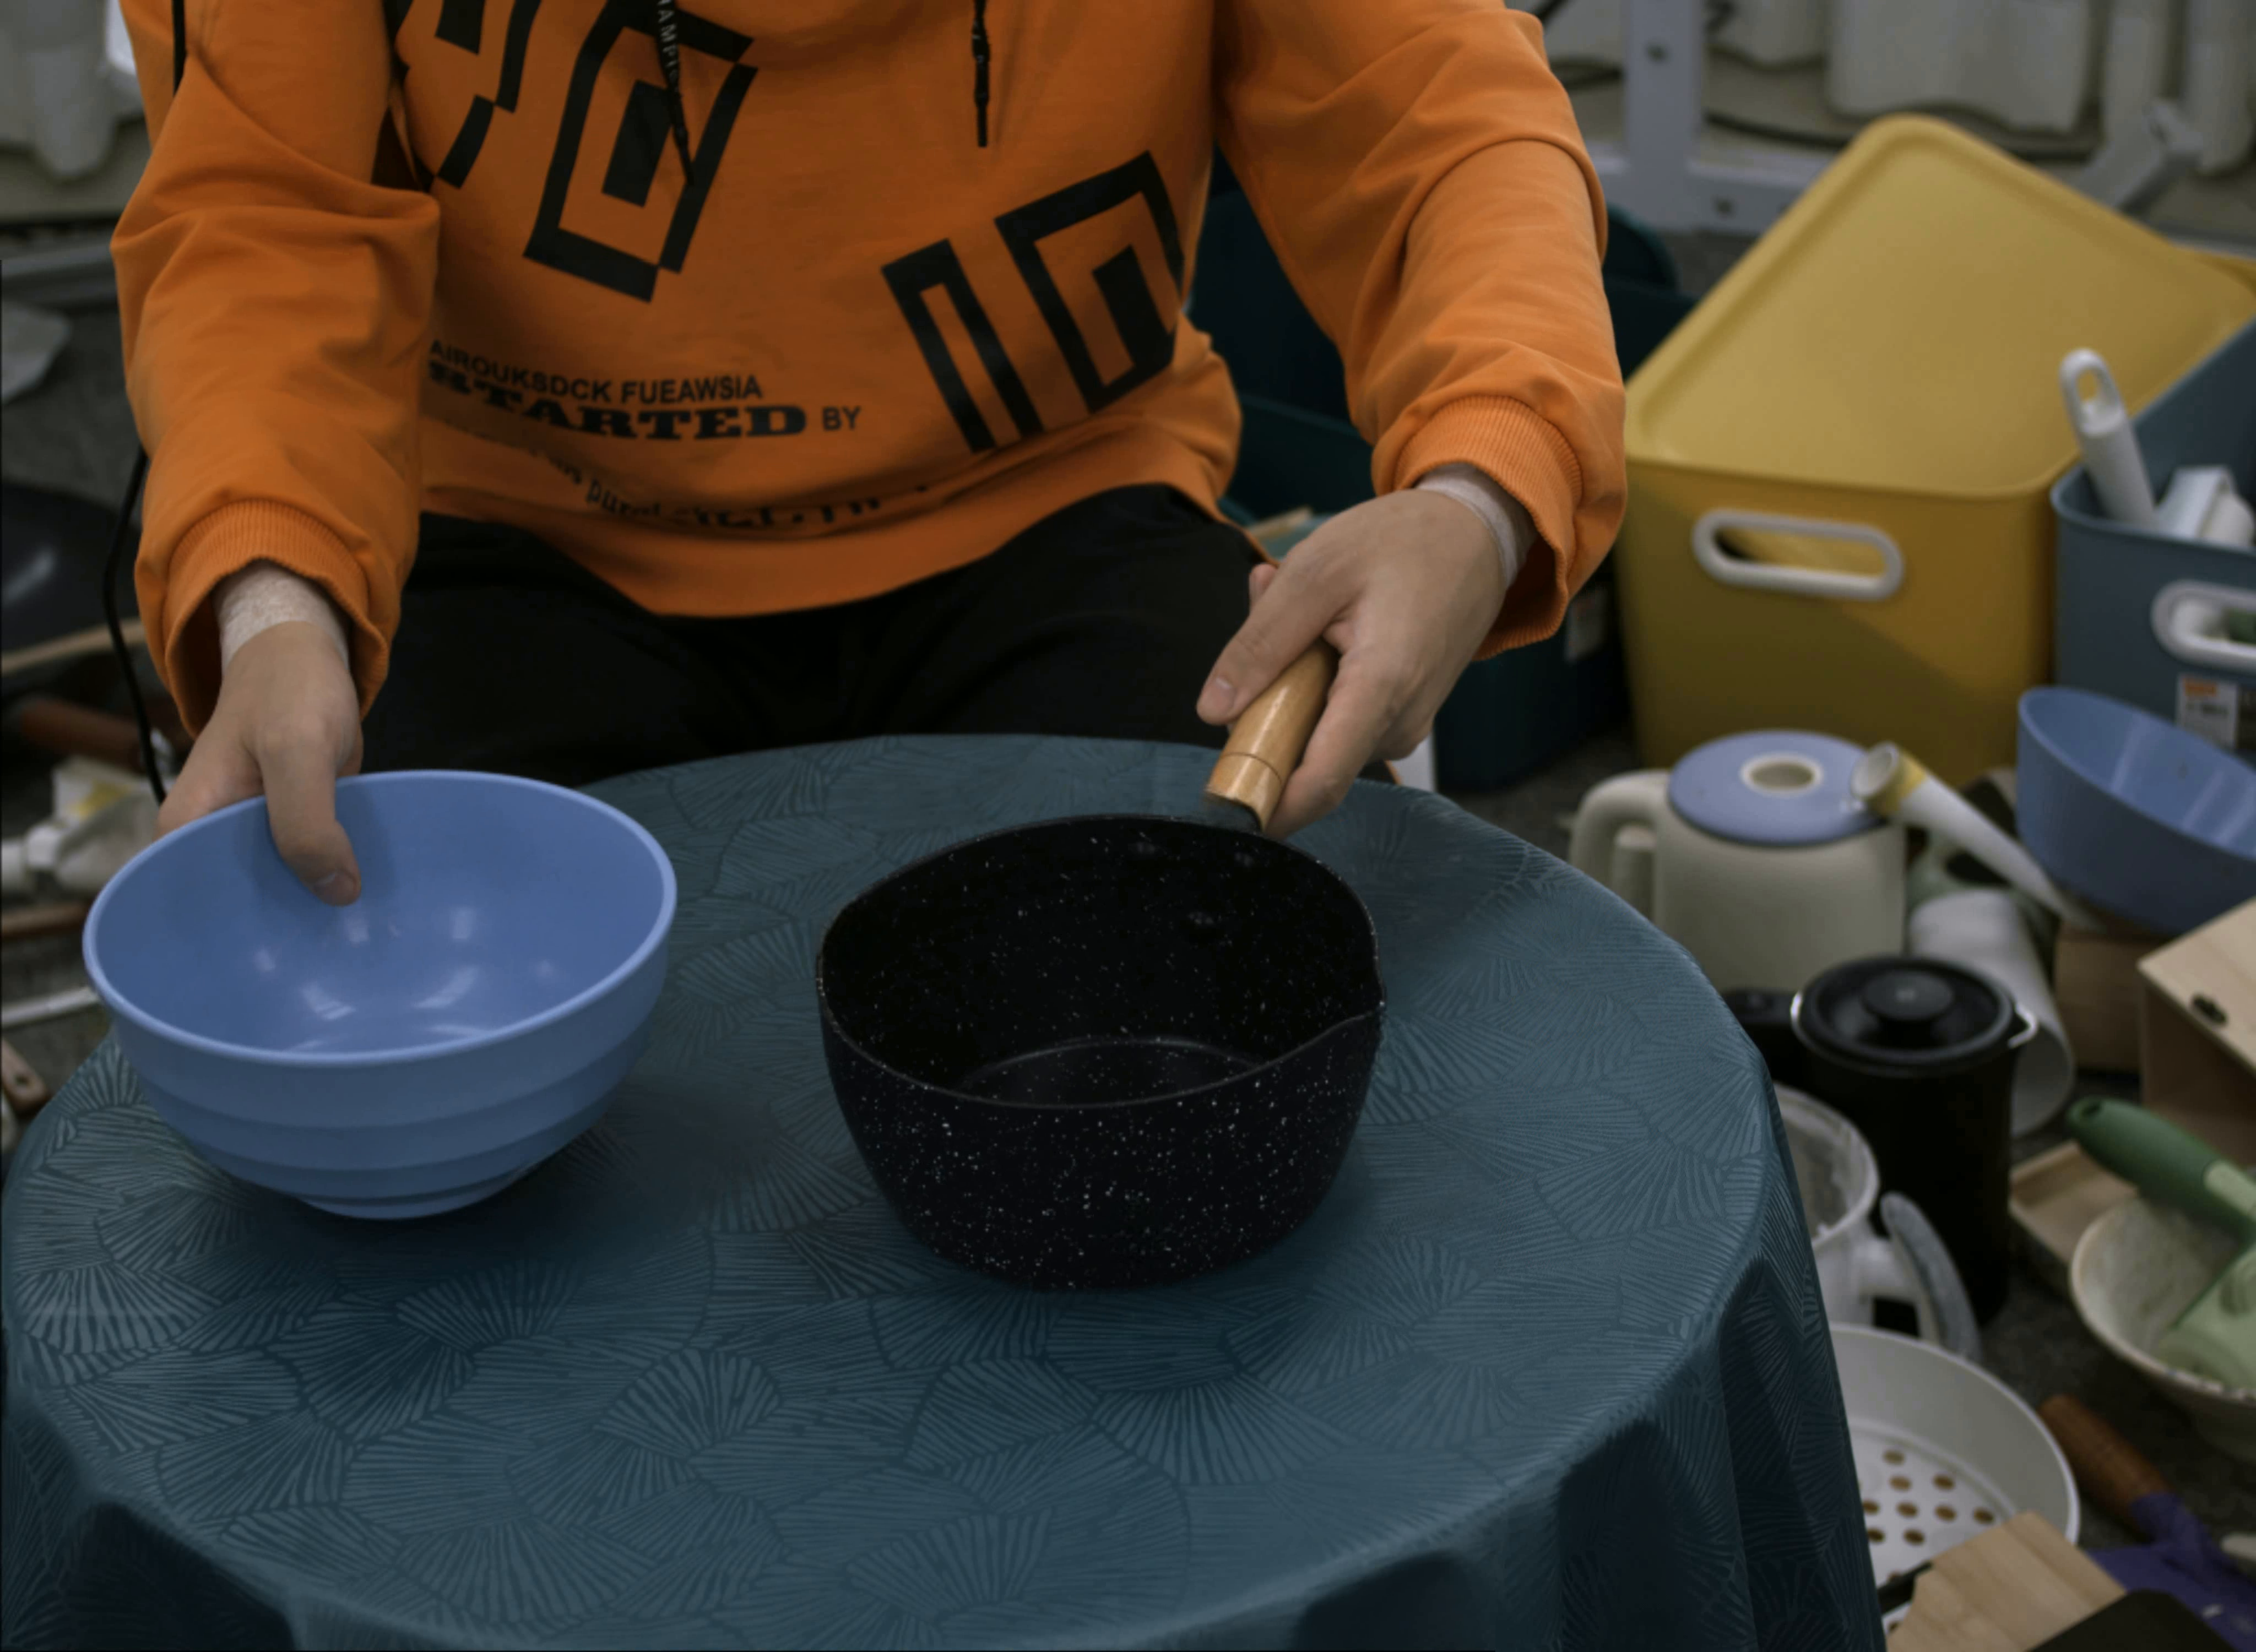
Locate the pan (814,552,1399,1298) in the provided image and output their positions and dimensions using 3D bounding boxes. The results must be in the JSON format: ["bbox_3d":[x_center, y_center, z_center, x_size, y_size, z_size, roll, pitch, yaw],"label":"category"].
[{"bbox_3d":[0.020,0.030,1.911,0.206,0.107,0.349,6,32,20],"label":"pan"}]

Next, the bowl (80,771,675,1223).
[{"bbox_3d":[-0.245,0.069,1.875,0.195,0.094,0.199,-2,28,2],"label":"bowl"}]
